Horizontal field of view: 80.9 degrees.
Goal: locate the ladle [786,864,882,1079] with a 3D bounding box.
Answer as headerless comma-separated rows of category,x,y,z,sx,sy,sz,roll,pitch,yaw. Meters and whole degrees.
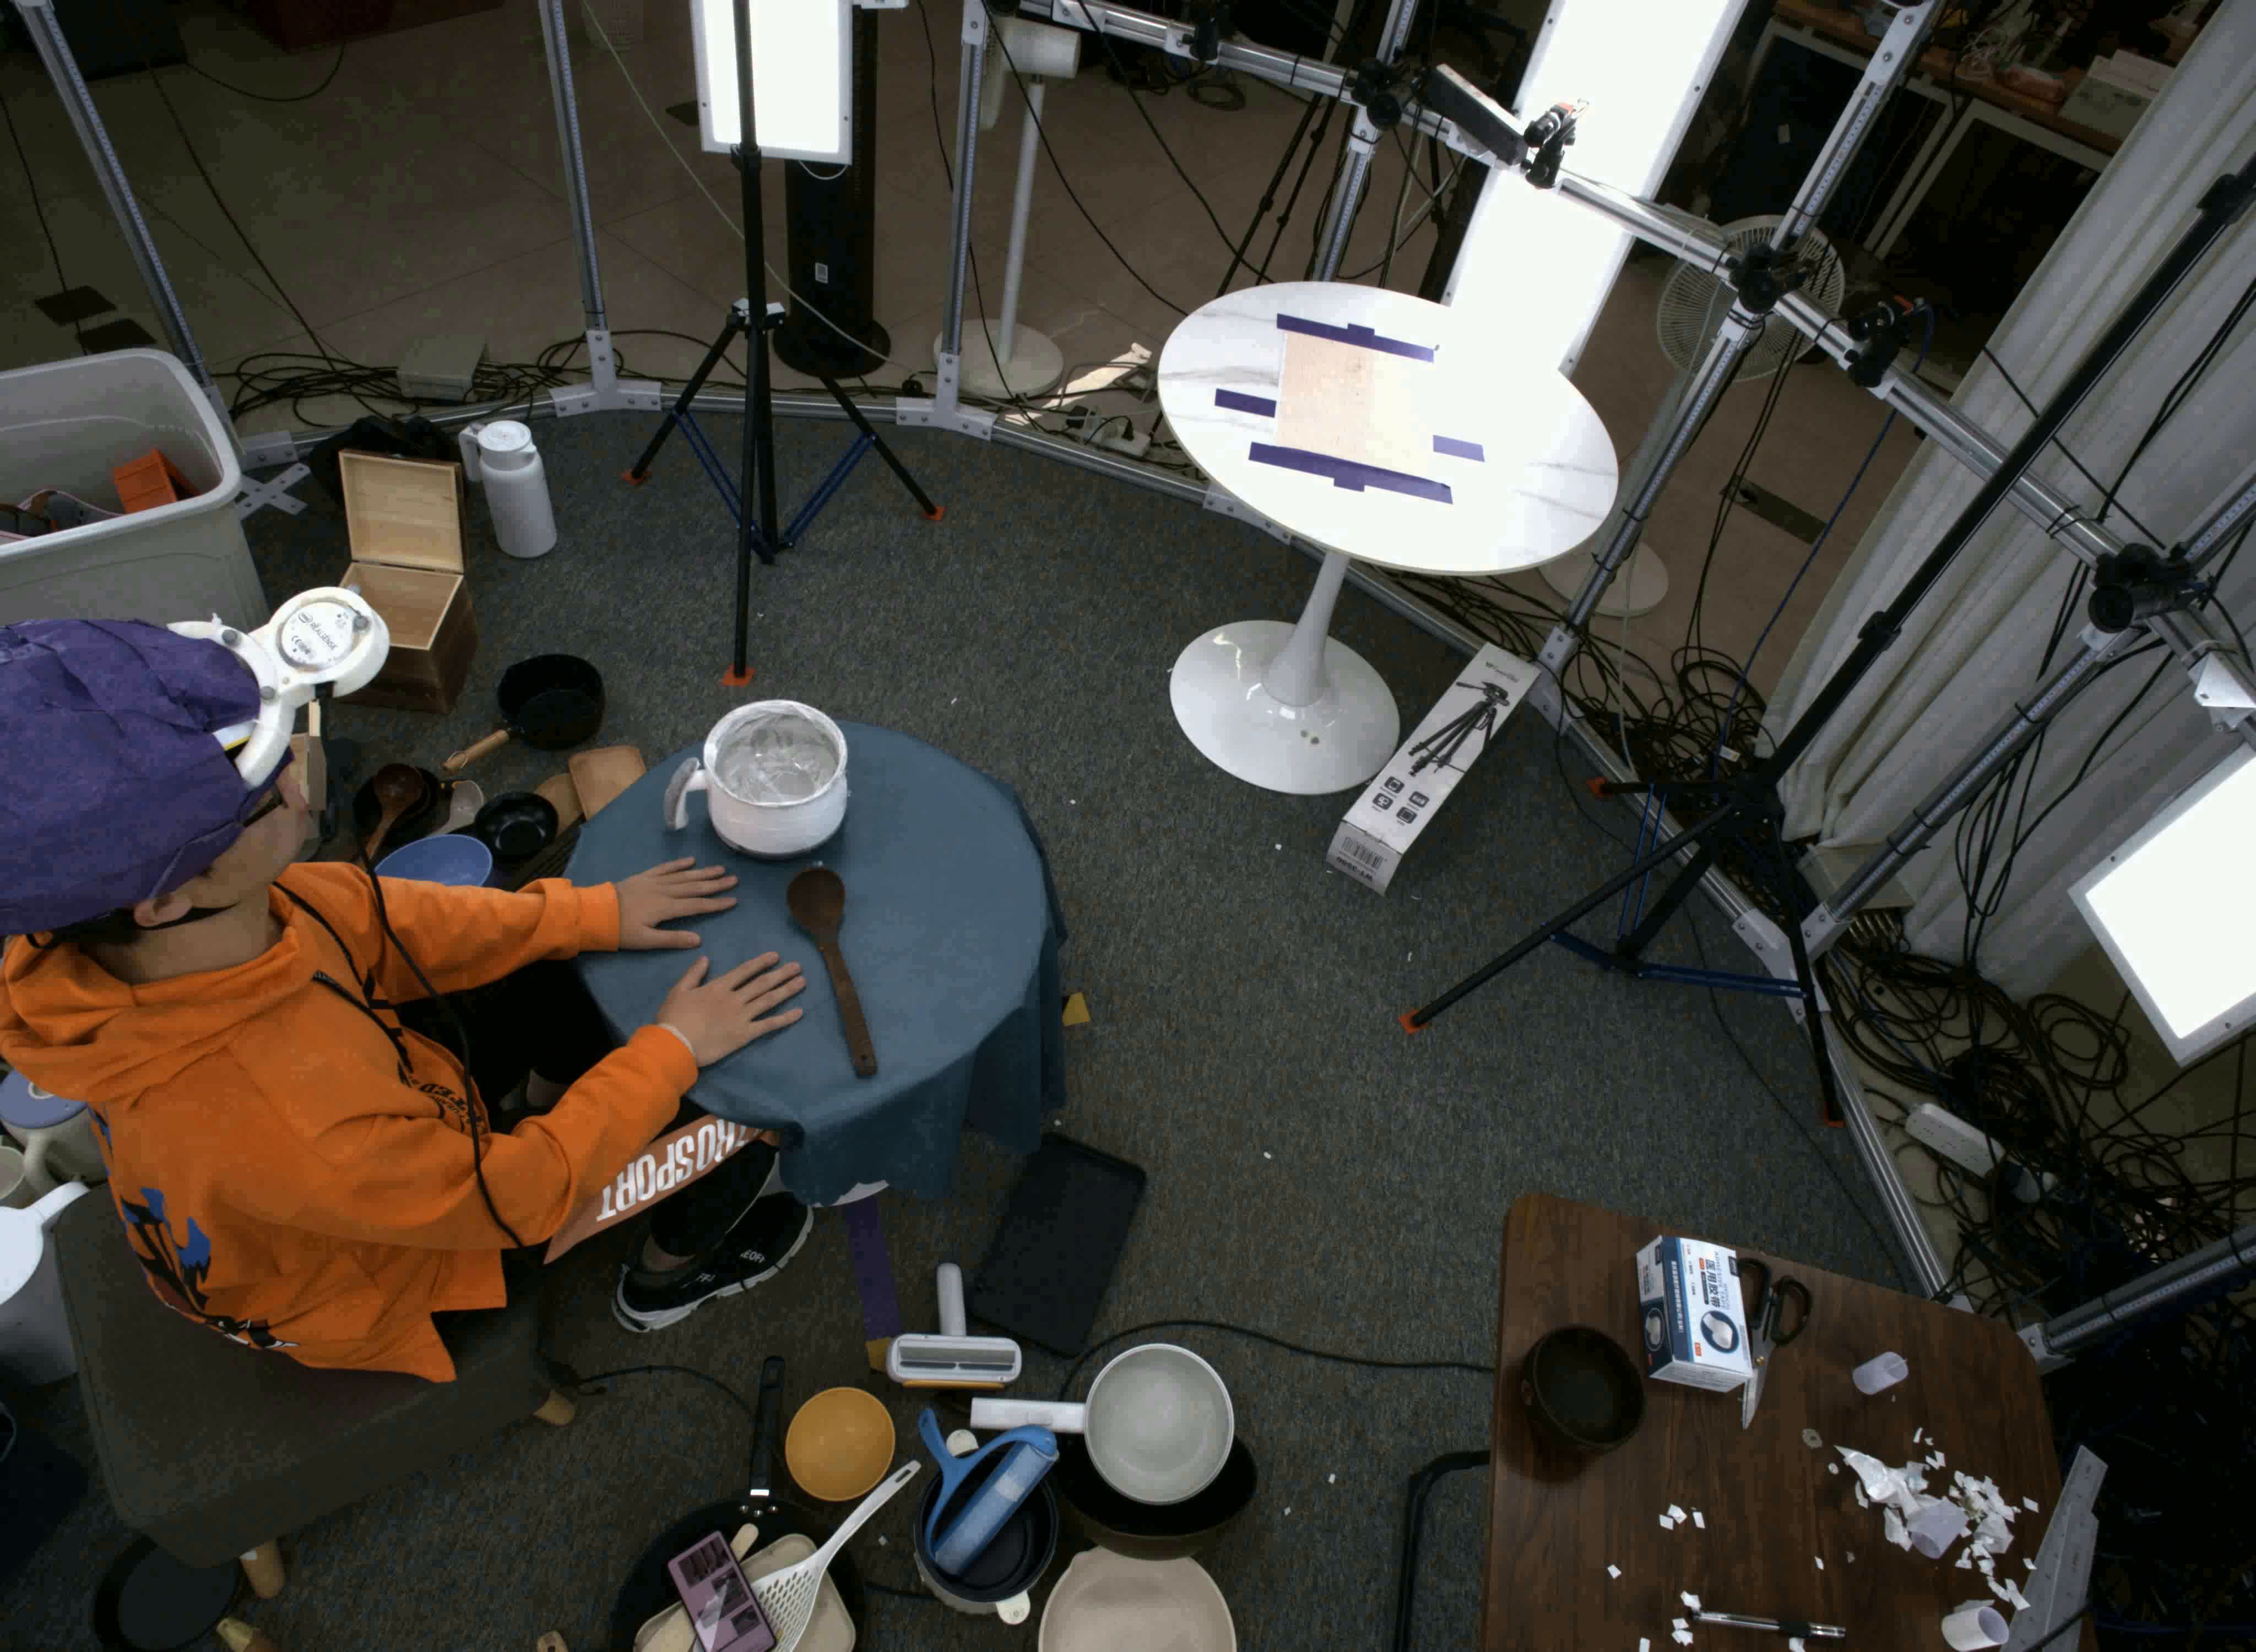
ladle,-0.348,0.167,1.564,0.076,0.073,0.267,-15,58,-19

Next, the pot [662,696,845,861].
pot,-0.478,-0.052,1.649,0.235,0.139,0.174,-11,56,-22
